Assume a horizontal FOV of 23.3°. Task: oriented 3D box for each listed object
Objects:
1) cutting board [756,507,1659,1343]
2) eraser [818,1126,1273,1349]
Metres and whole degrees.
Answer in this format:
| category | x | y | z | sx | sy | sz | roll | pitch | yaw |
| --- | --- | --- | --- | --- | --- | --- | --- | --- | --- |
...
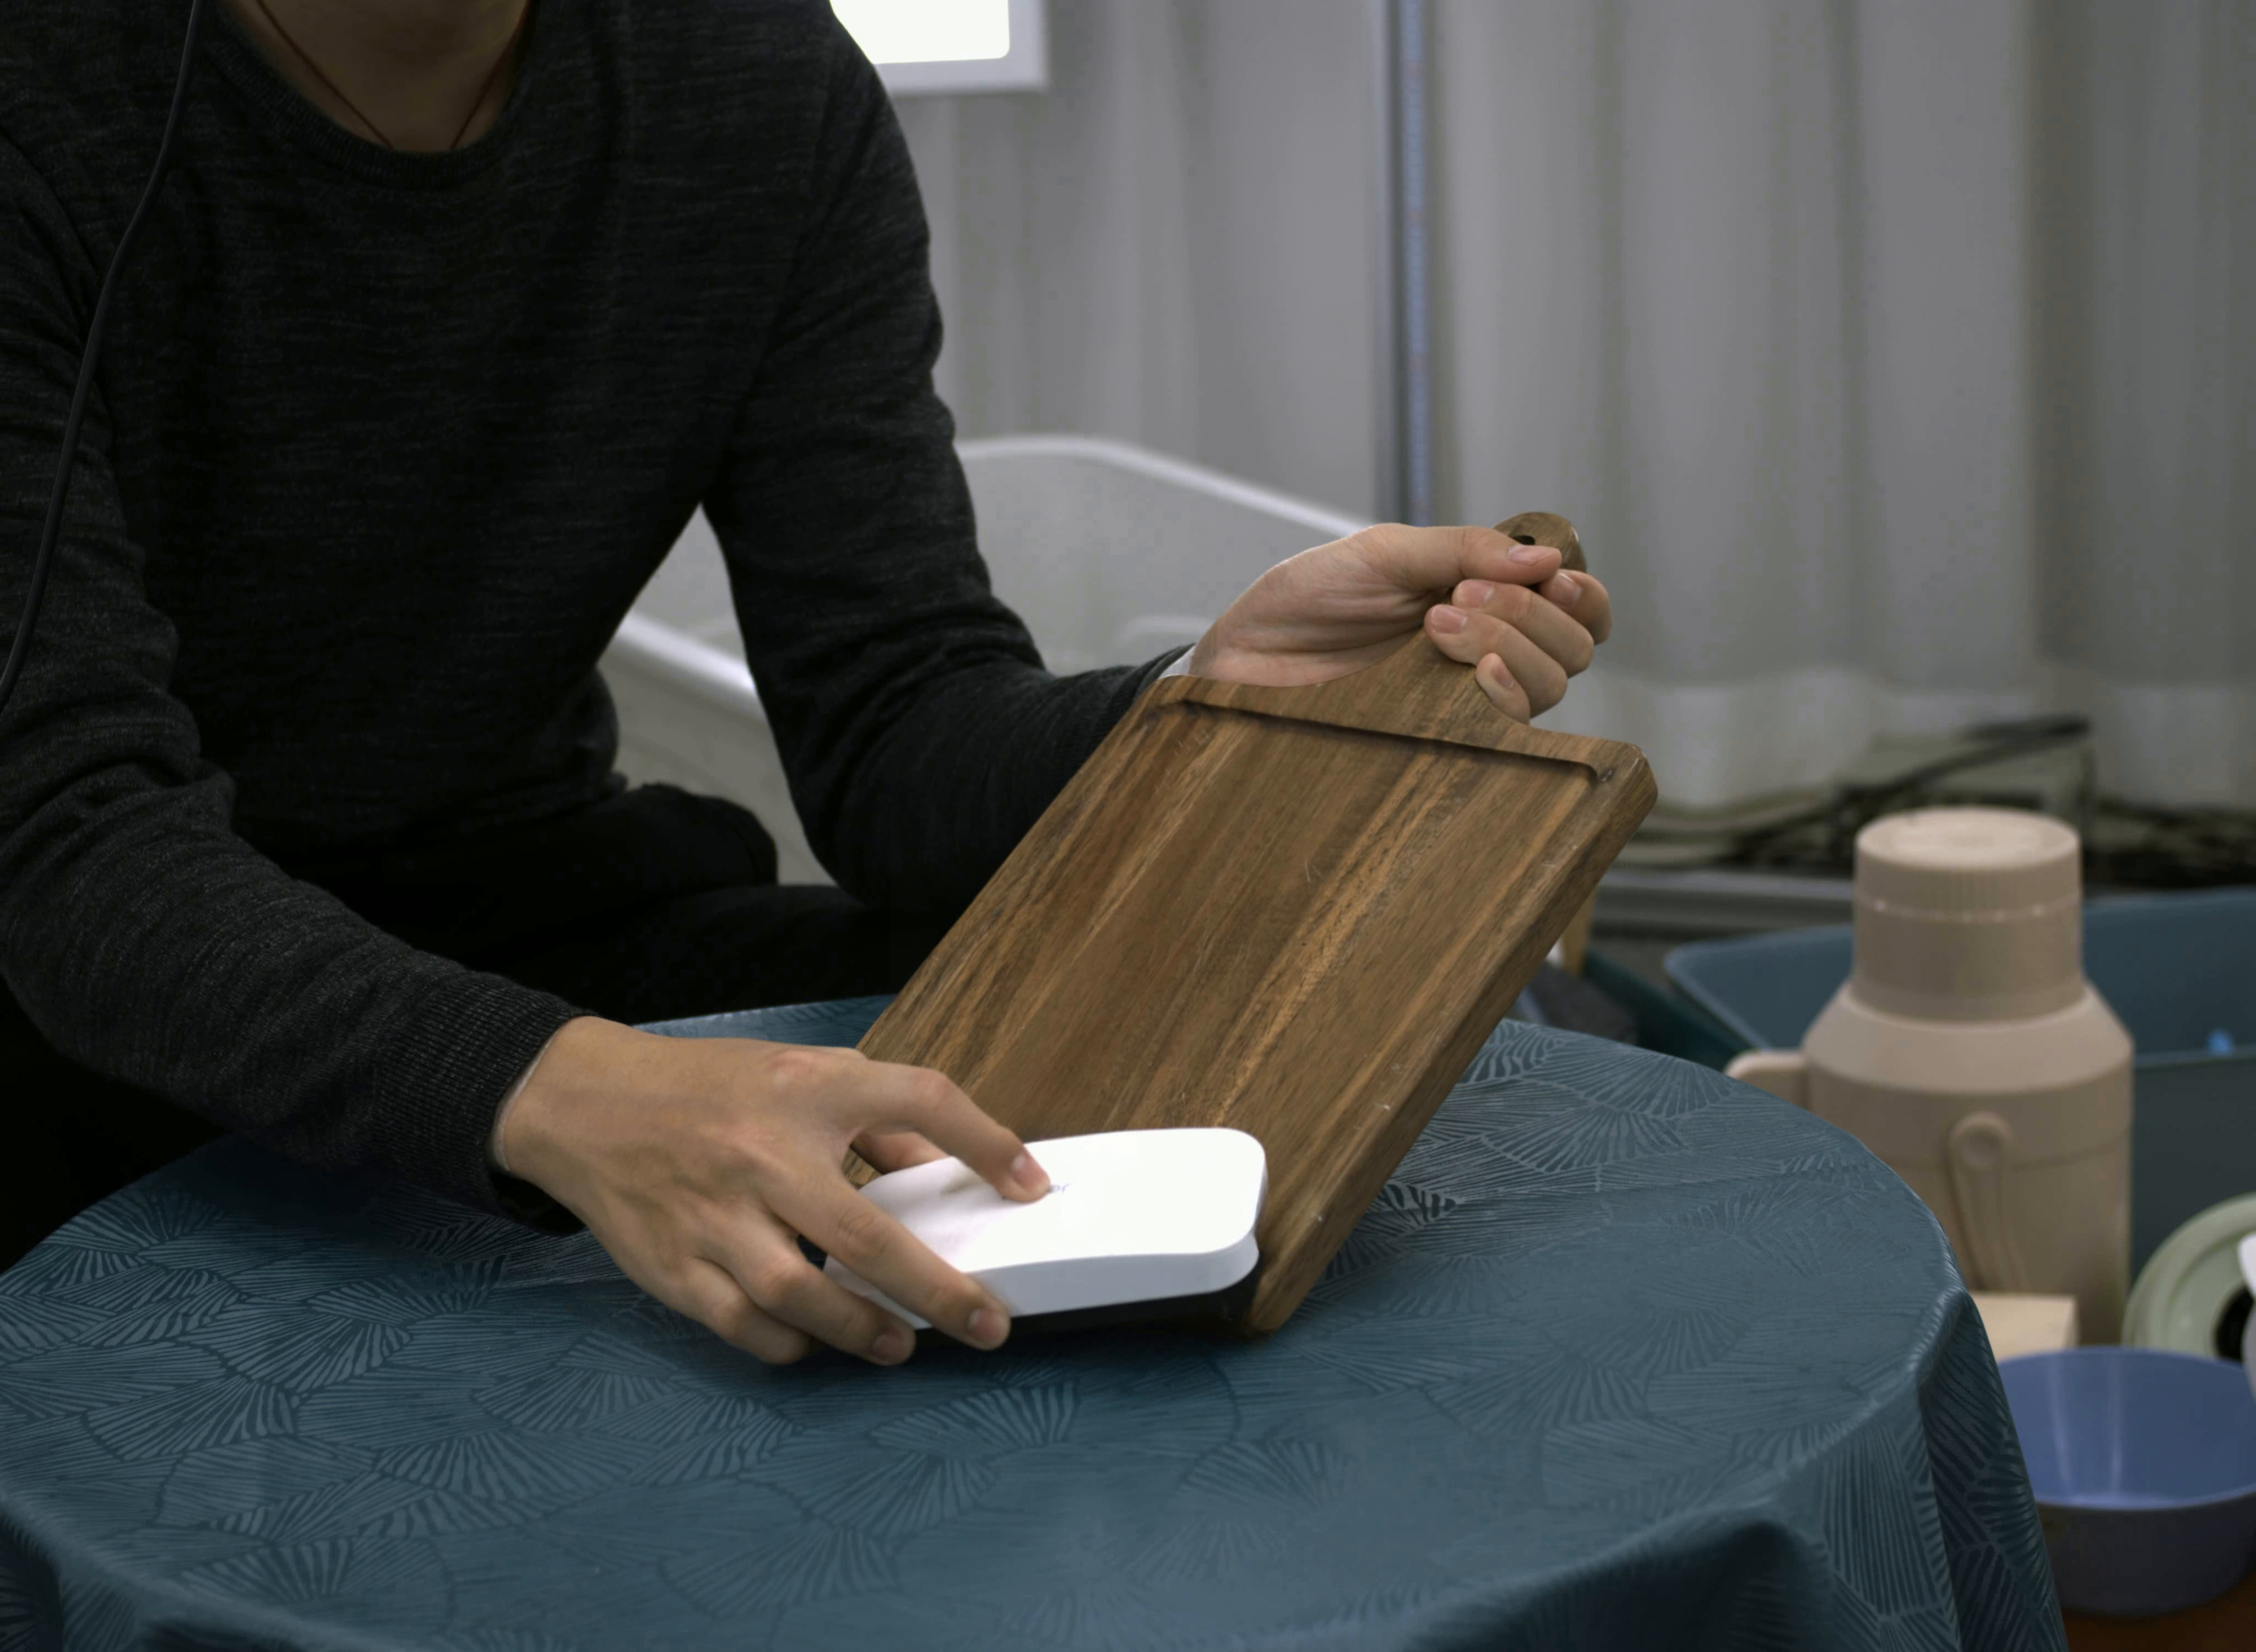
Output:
| category | x | y | z | sx | sy | sz | roll | pitch | yaw |
| --- | --- | --- | --- | --- | --- | --- | --- | --- | --- |
| cutting board | 0.051 | 0.017 | 1.721 | 0.202 | 0.023 | 0.355 | 9 | 46 | 36 |
| eraser | -0.023 | 0.118 | 1.588 | 0.131 | 0.034 | 0.064 | -7 | 31 | 15 |
